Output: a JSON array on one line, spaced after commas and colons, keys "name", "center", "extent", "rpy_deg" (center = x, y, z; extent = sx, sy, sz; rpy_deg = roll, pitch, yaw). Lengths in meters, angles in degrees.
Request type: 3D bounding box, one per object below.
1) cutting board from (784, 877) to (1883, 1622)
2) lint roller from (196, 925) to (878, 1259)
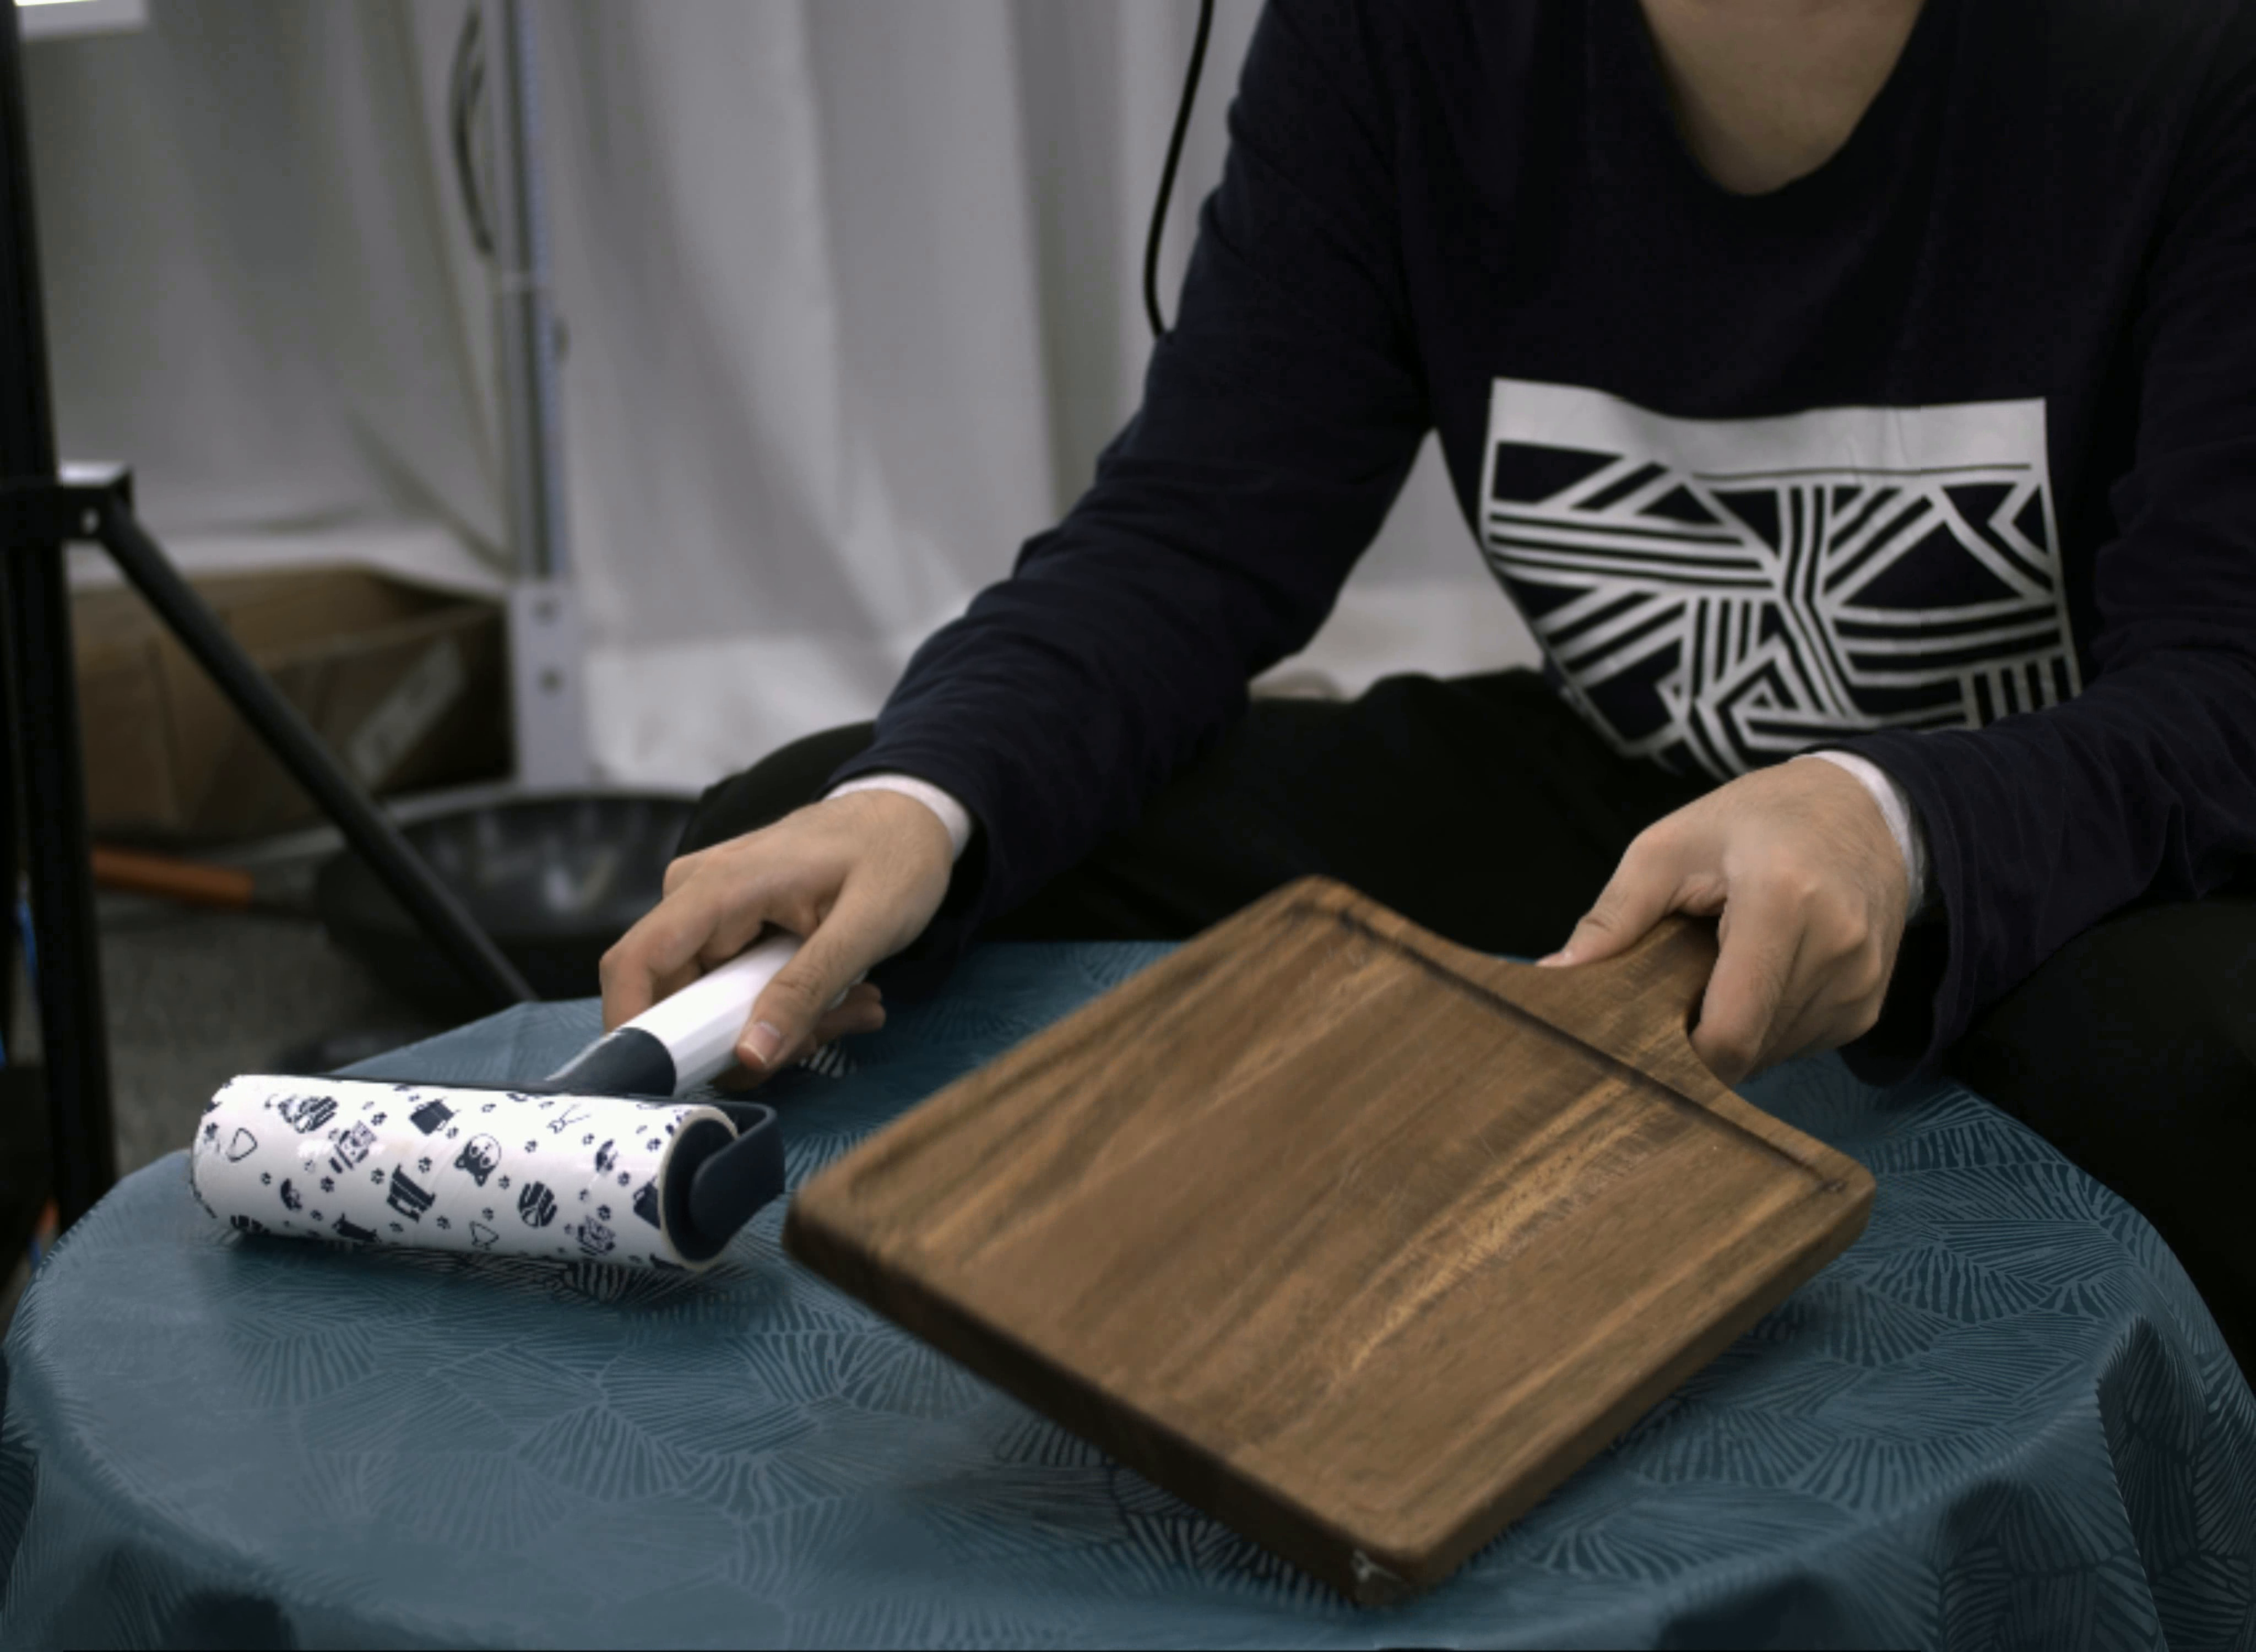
[{"name": "cutting board", "center": [0.087, 0.088, 1.428], "extent": [0.204, 0.023, 0.346], "rpy_deg": [25, 34, 26]}, {"name": "lint roller", "center": [-0.144, 0.068, 1.610], "extent": [0.179, 0.050, 0.243], "rpy_deg": [1, 18, 28]}]
